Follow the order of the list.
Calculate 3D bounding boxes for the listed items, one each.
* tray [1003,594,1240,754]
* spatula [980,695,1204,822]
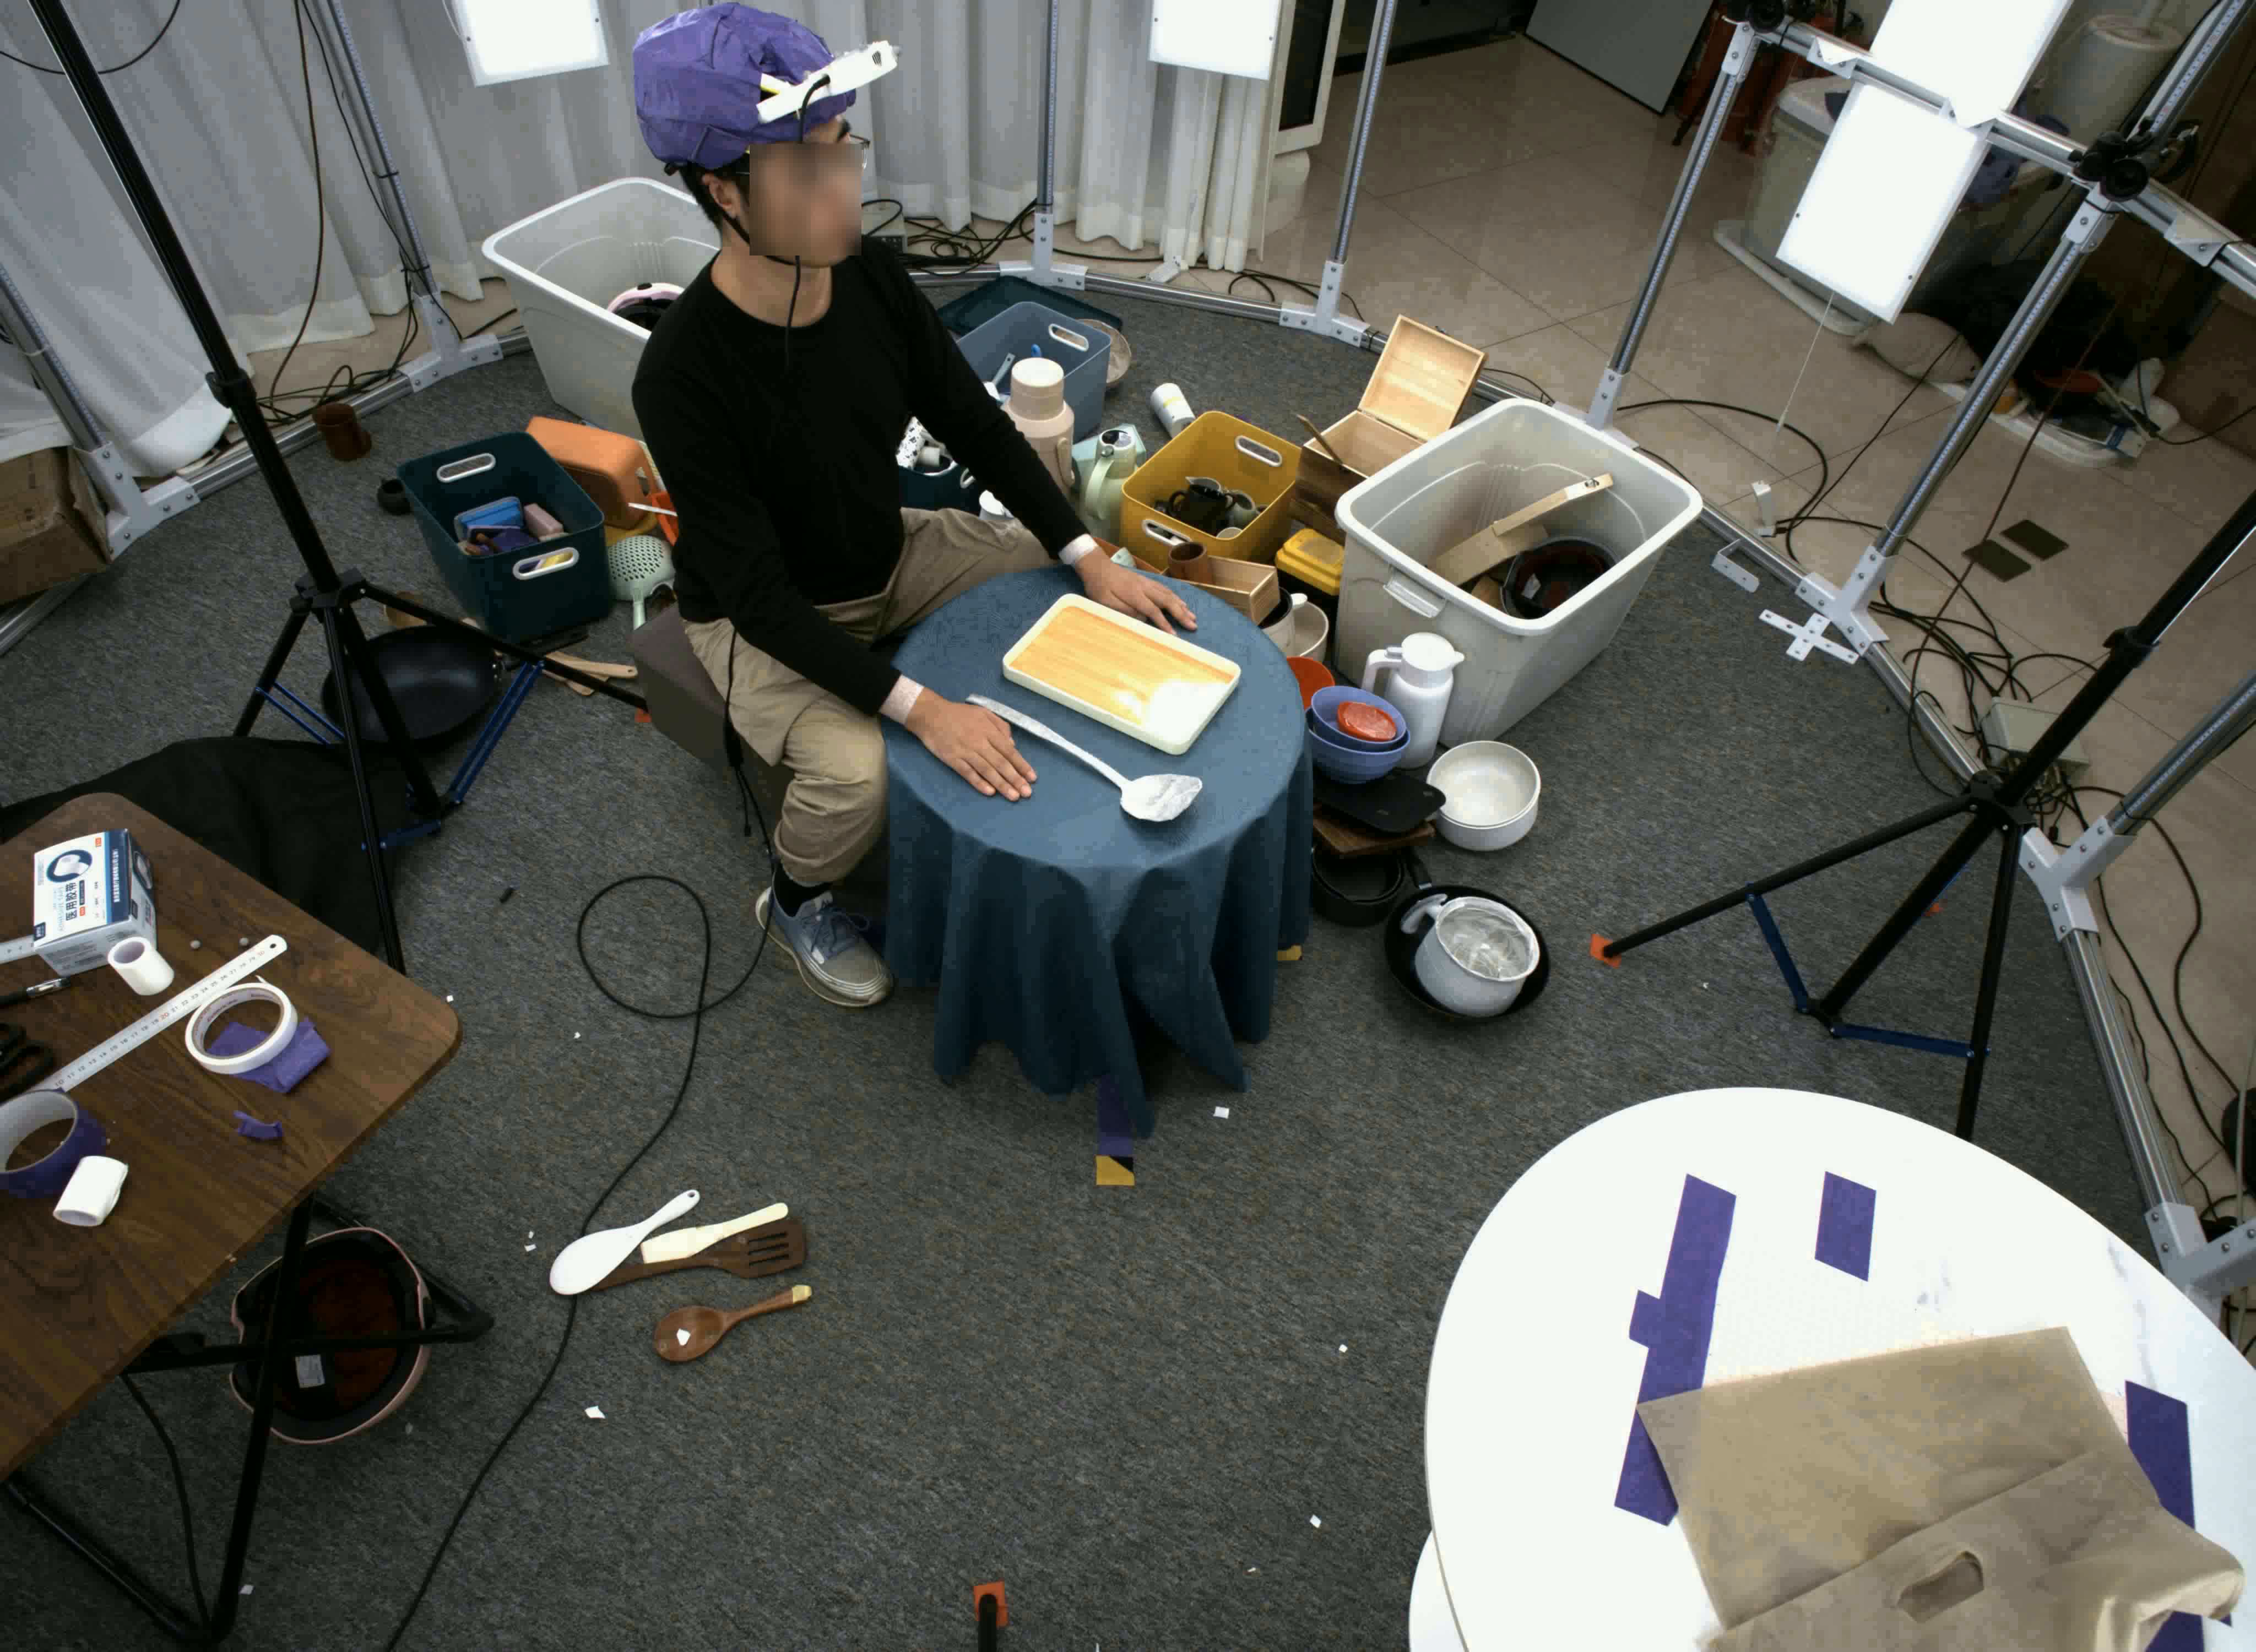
[{"bbox_3d":[-0.009,-0.223,1.846,0.303,0.027,0.194,26,52,18],"label":"tray"},{"bbox_3d":[-0.066,-0.104,1.731,0.369,0.044,0.100,31,55,21],"label":"spatula"}]
